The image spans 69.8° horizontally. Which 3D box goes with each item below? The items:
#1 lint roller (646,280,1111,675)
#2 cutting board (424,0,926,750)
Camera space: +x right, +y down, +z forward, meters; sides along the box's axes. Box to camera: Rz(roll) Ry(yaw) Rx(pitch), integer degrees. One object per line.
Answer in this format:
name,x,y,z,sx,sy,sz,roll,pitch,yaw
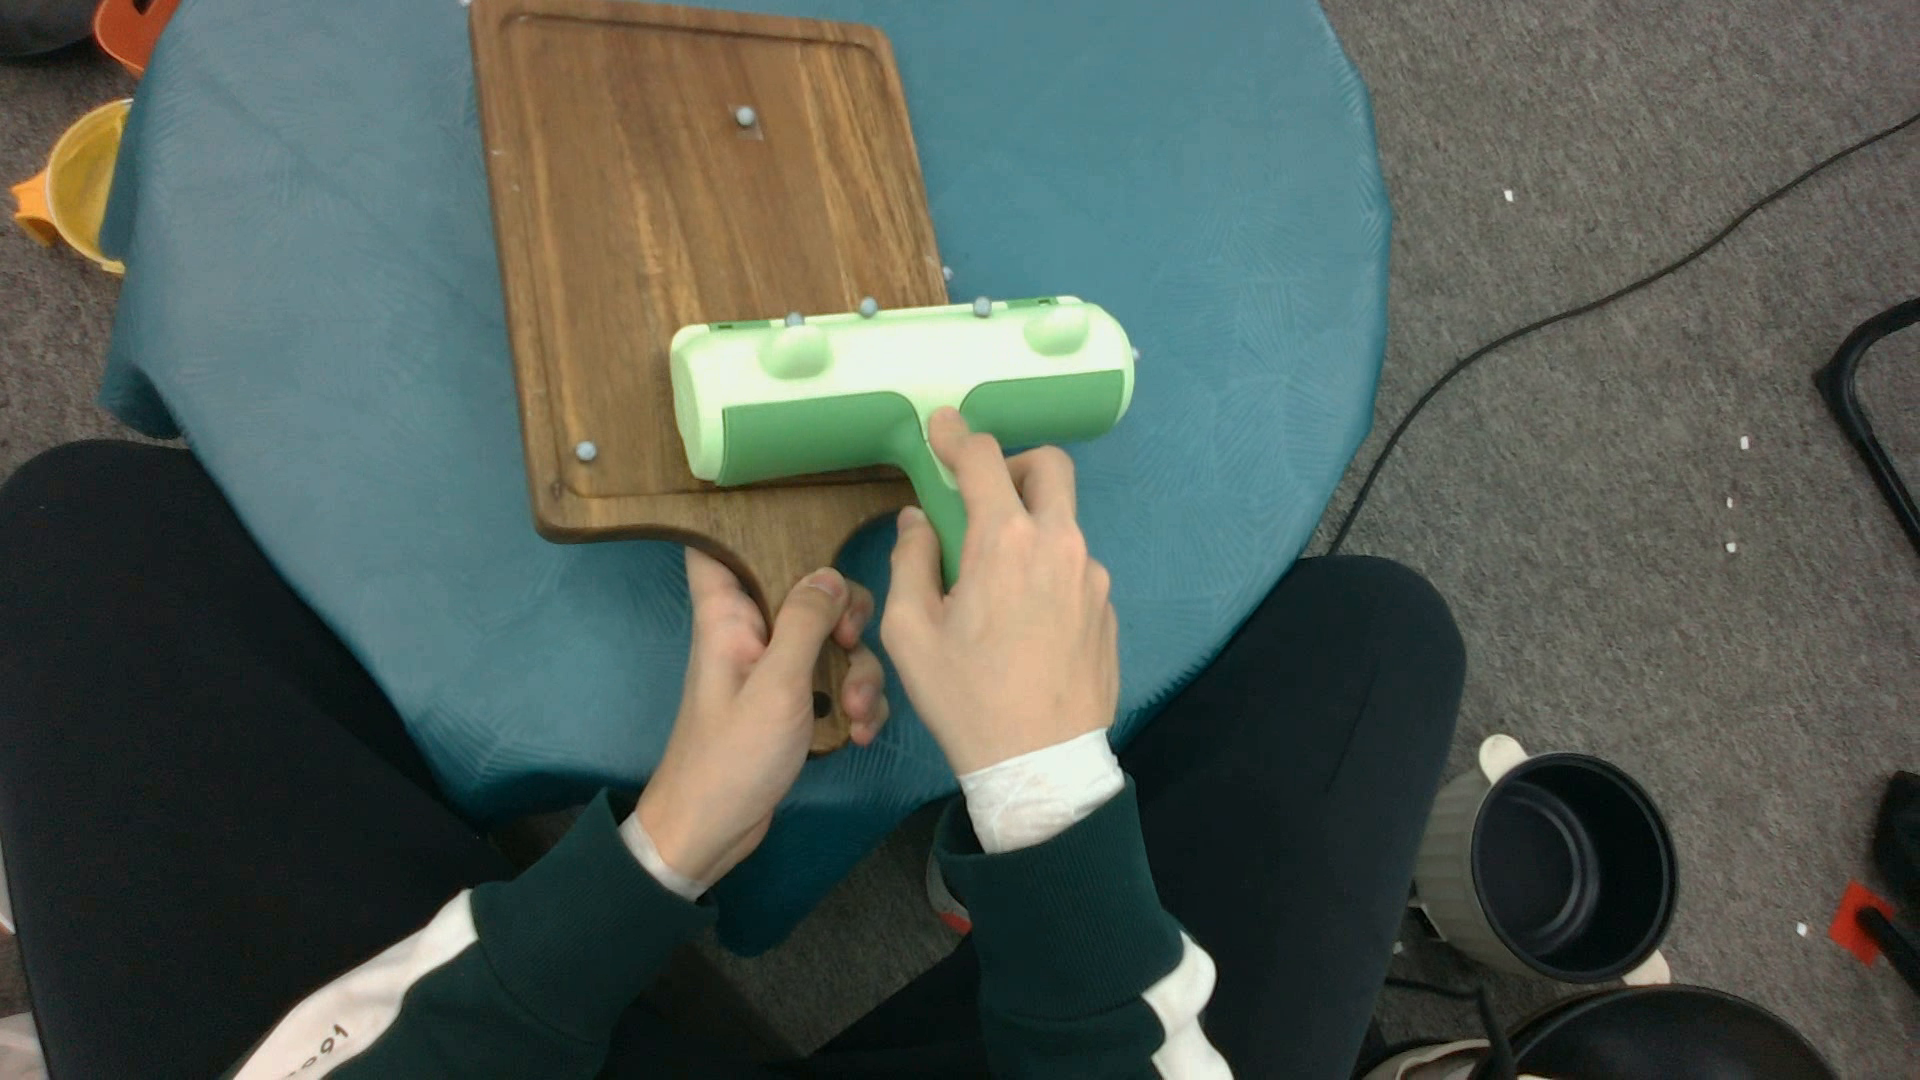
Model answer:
lint roller,-0.008,-0.038,0.547,0.199,0.082,0.184,-9,51,-25
cutting board,-0.102,-0.082,0.597,0.201,0.023,0.353,-7,74,-27
